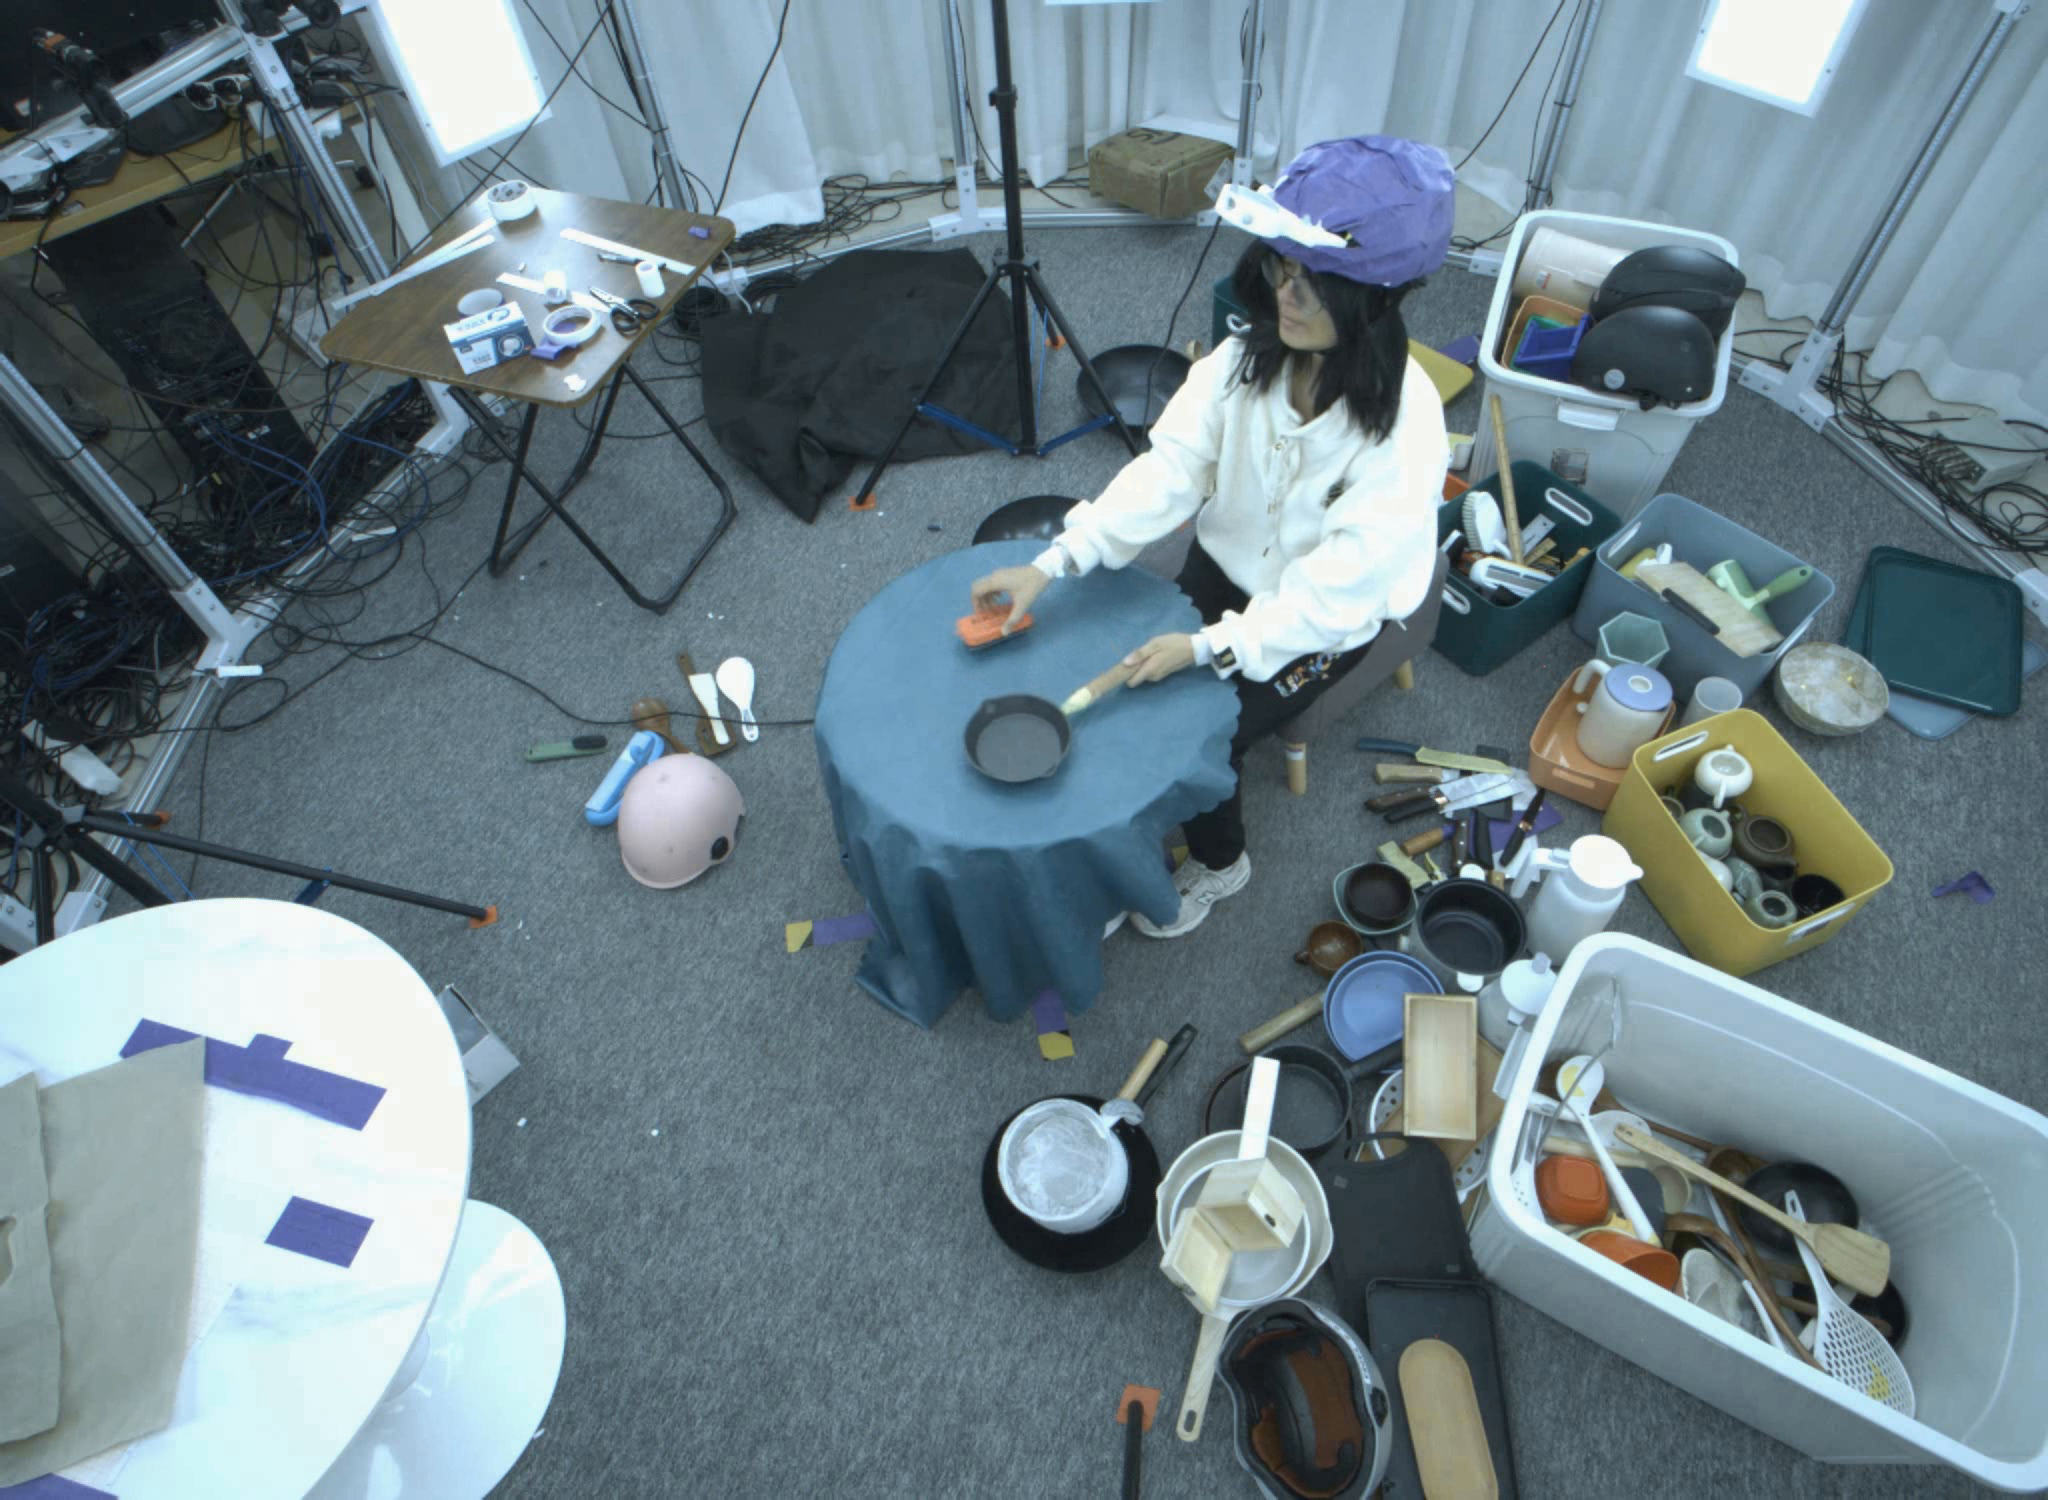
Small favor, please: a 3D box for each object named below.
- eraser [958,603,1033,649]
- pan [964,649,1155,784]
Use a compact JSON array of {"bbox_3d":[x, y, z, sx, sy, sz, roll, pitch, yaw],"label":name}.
[{"bbox_3d":[-0.044,-0.192,1.898,0.109,0.023,0.057,-21,44,-23],"label":"eraser"},{"bbox_3d":[0.062,-0.057,1.794,0.326,0.050,0.166,-31,59,-17],"label":"pan"}]
